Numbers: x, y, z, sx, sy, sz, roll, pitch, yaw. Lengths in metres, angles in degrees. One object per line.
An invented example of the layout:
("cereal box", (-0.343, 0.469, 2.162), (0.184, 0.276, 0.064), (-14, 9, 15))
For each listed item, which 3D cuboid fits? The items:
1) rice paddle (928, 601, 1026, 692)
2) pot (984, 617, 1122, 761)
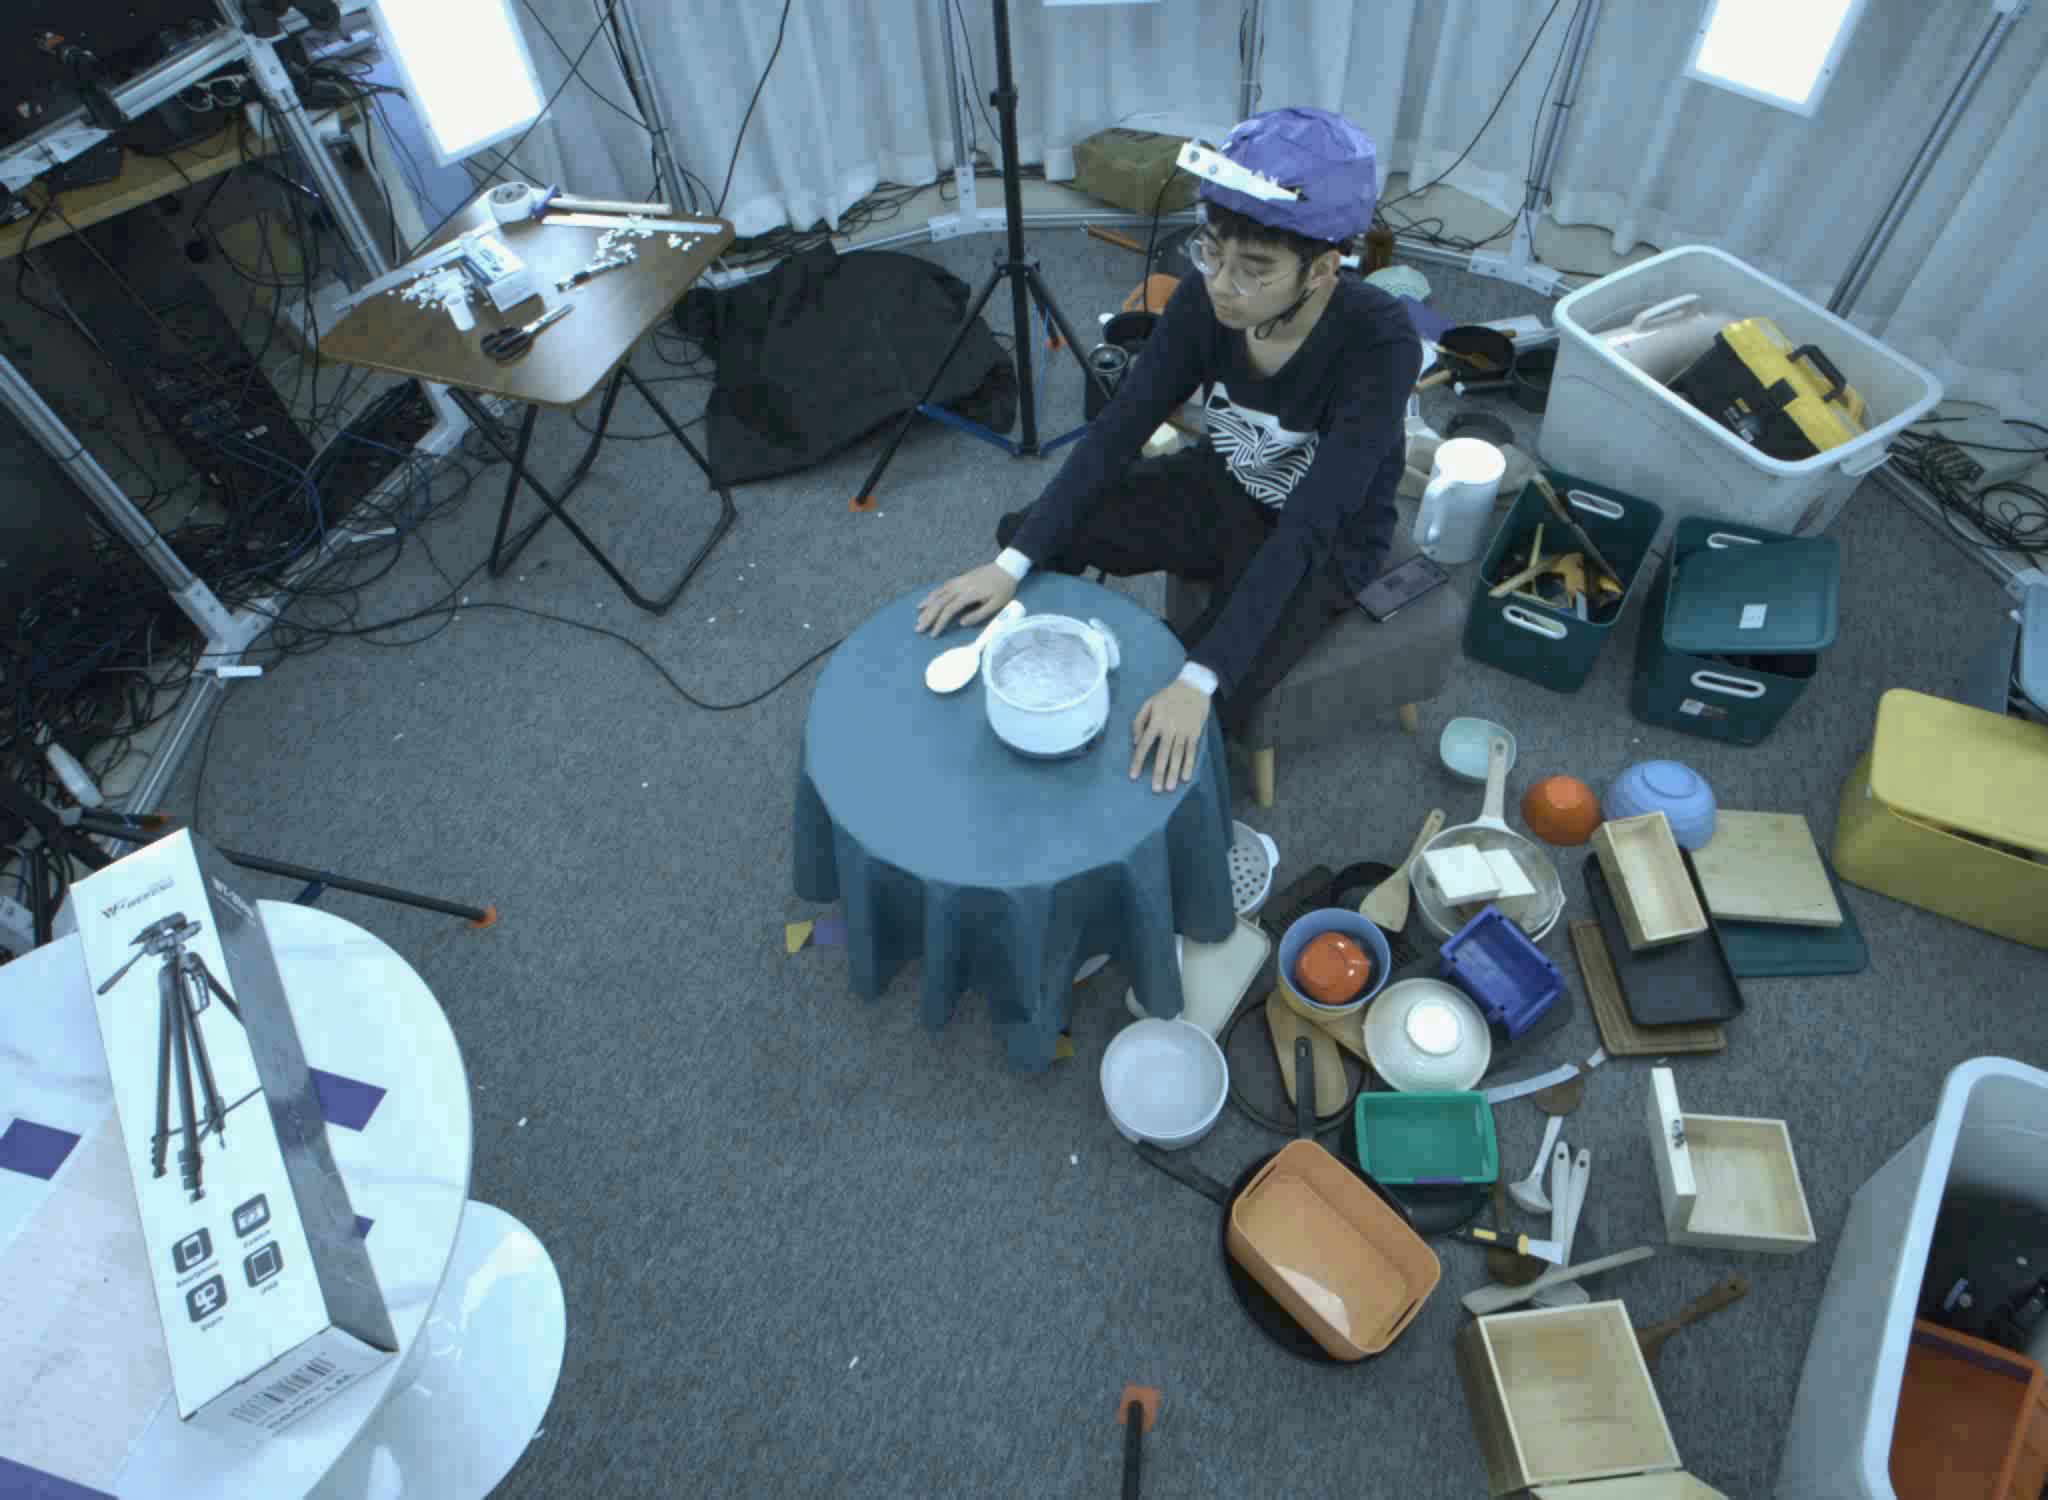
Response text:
("rice paddle", (-0.071, -0.159, 1.893), (0.067, 0.030, 0.206), (31, 60, 24))
("pot", (0.053, -0.100, 1.785), (0.175, 0.138, 0.235), (39, 63, 24))
